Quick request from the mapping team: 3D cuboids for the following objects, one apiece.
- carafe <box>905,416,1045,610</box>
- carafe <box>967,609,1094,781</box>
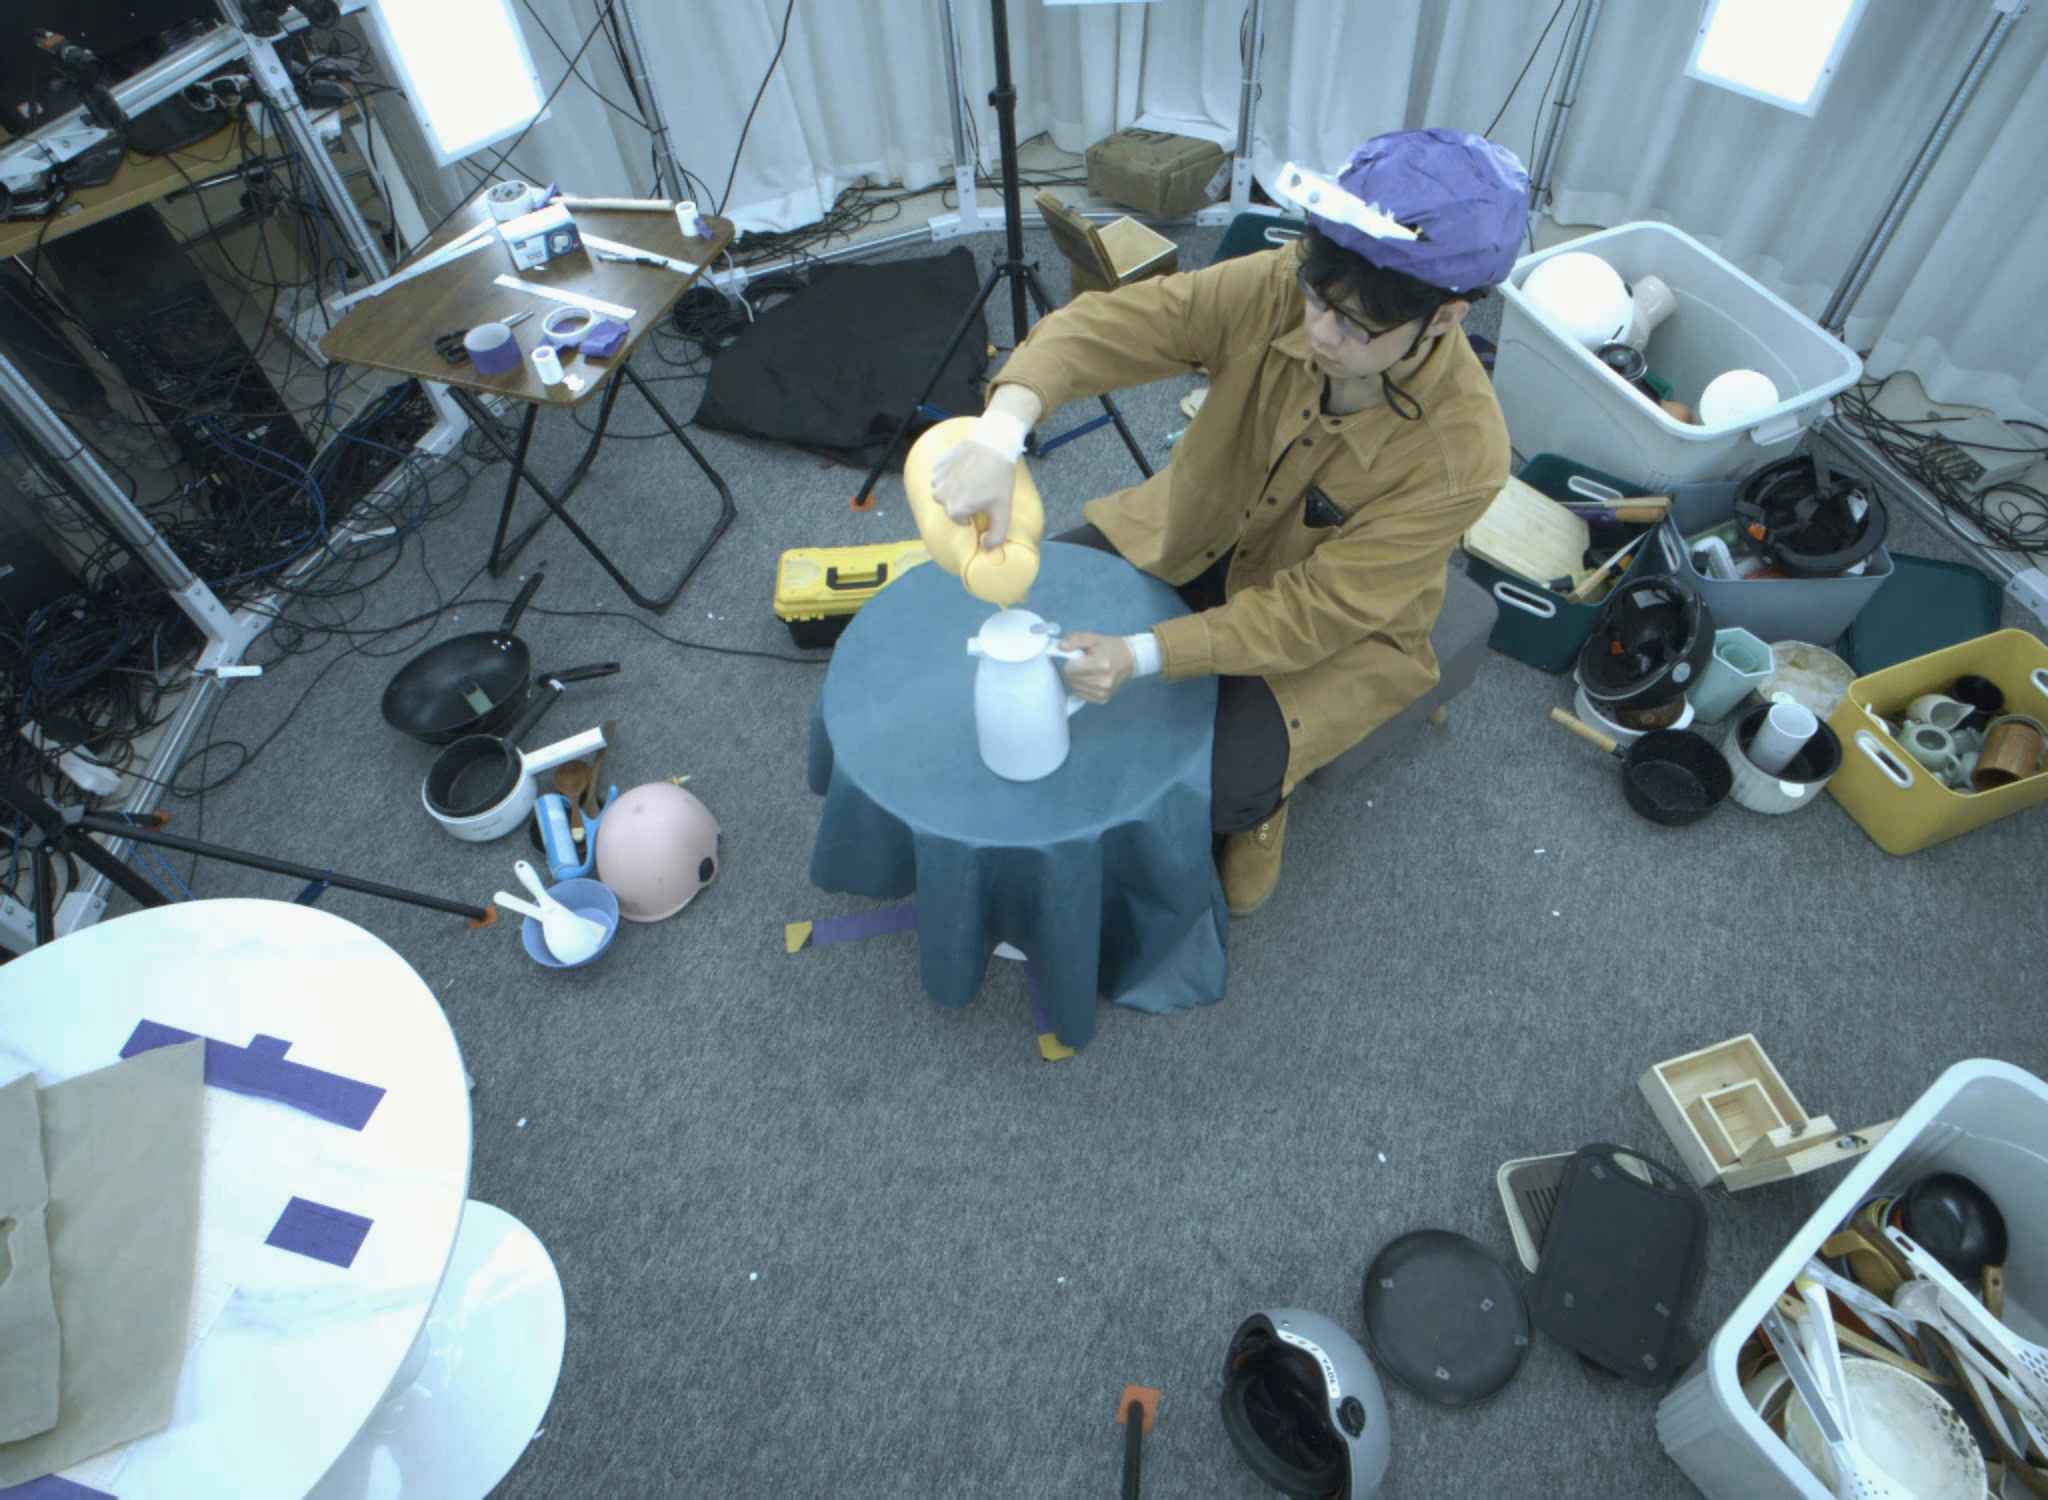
[{"bbox_3d":[-0.059,-0.316,1.549,0.164,0.205,0.256,-19,53,-2],"label":"carafe"},{"bbox_3d":[0.012,-0.083,1.688,0.168,0.251,0.131,-3,54,0],"label":"carafe"}]
